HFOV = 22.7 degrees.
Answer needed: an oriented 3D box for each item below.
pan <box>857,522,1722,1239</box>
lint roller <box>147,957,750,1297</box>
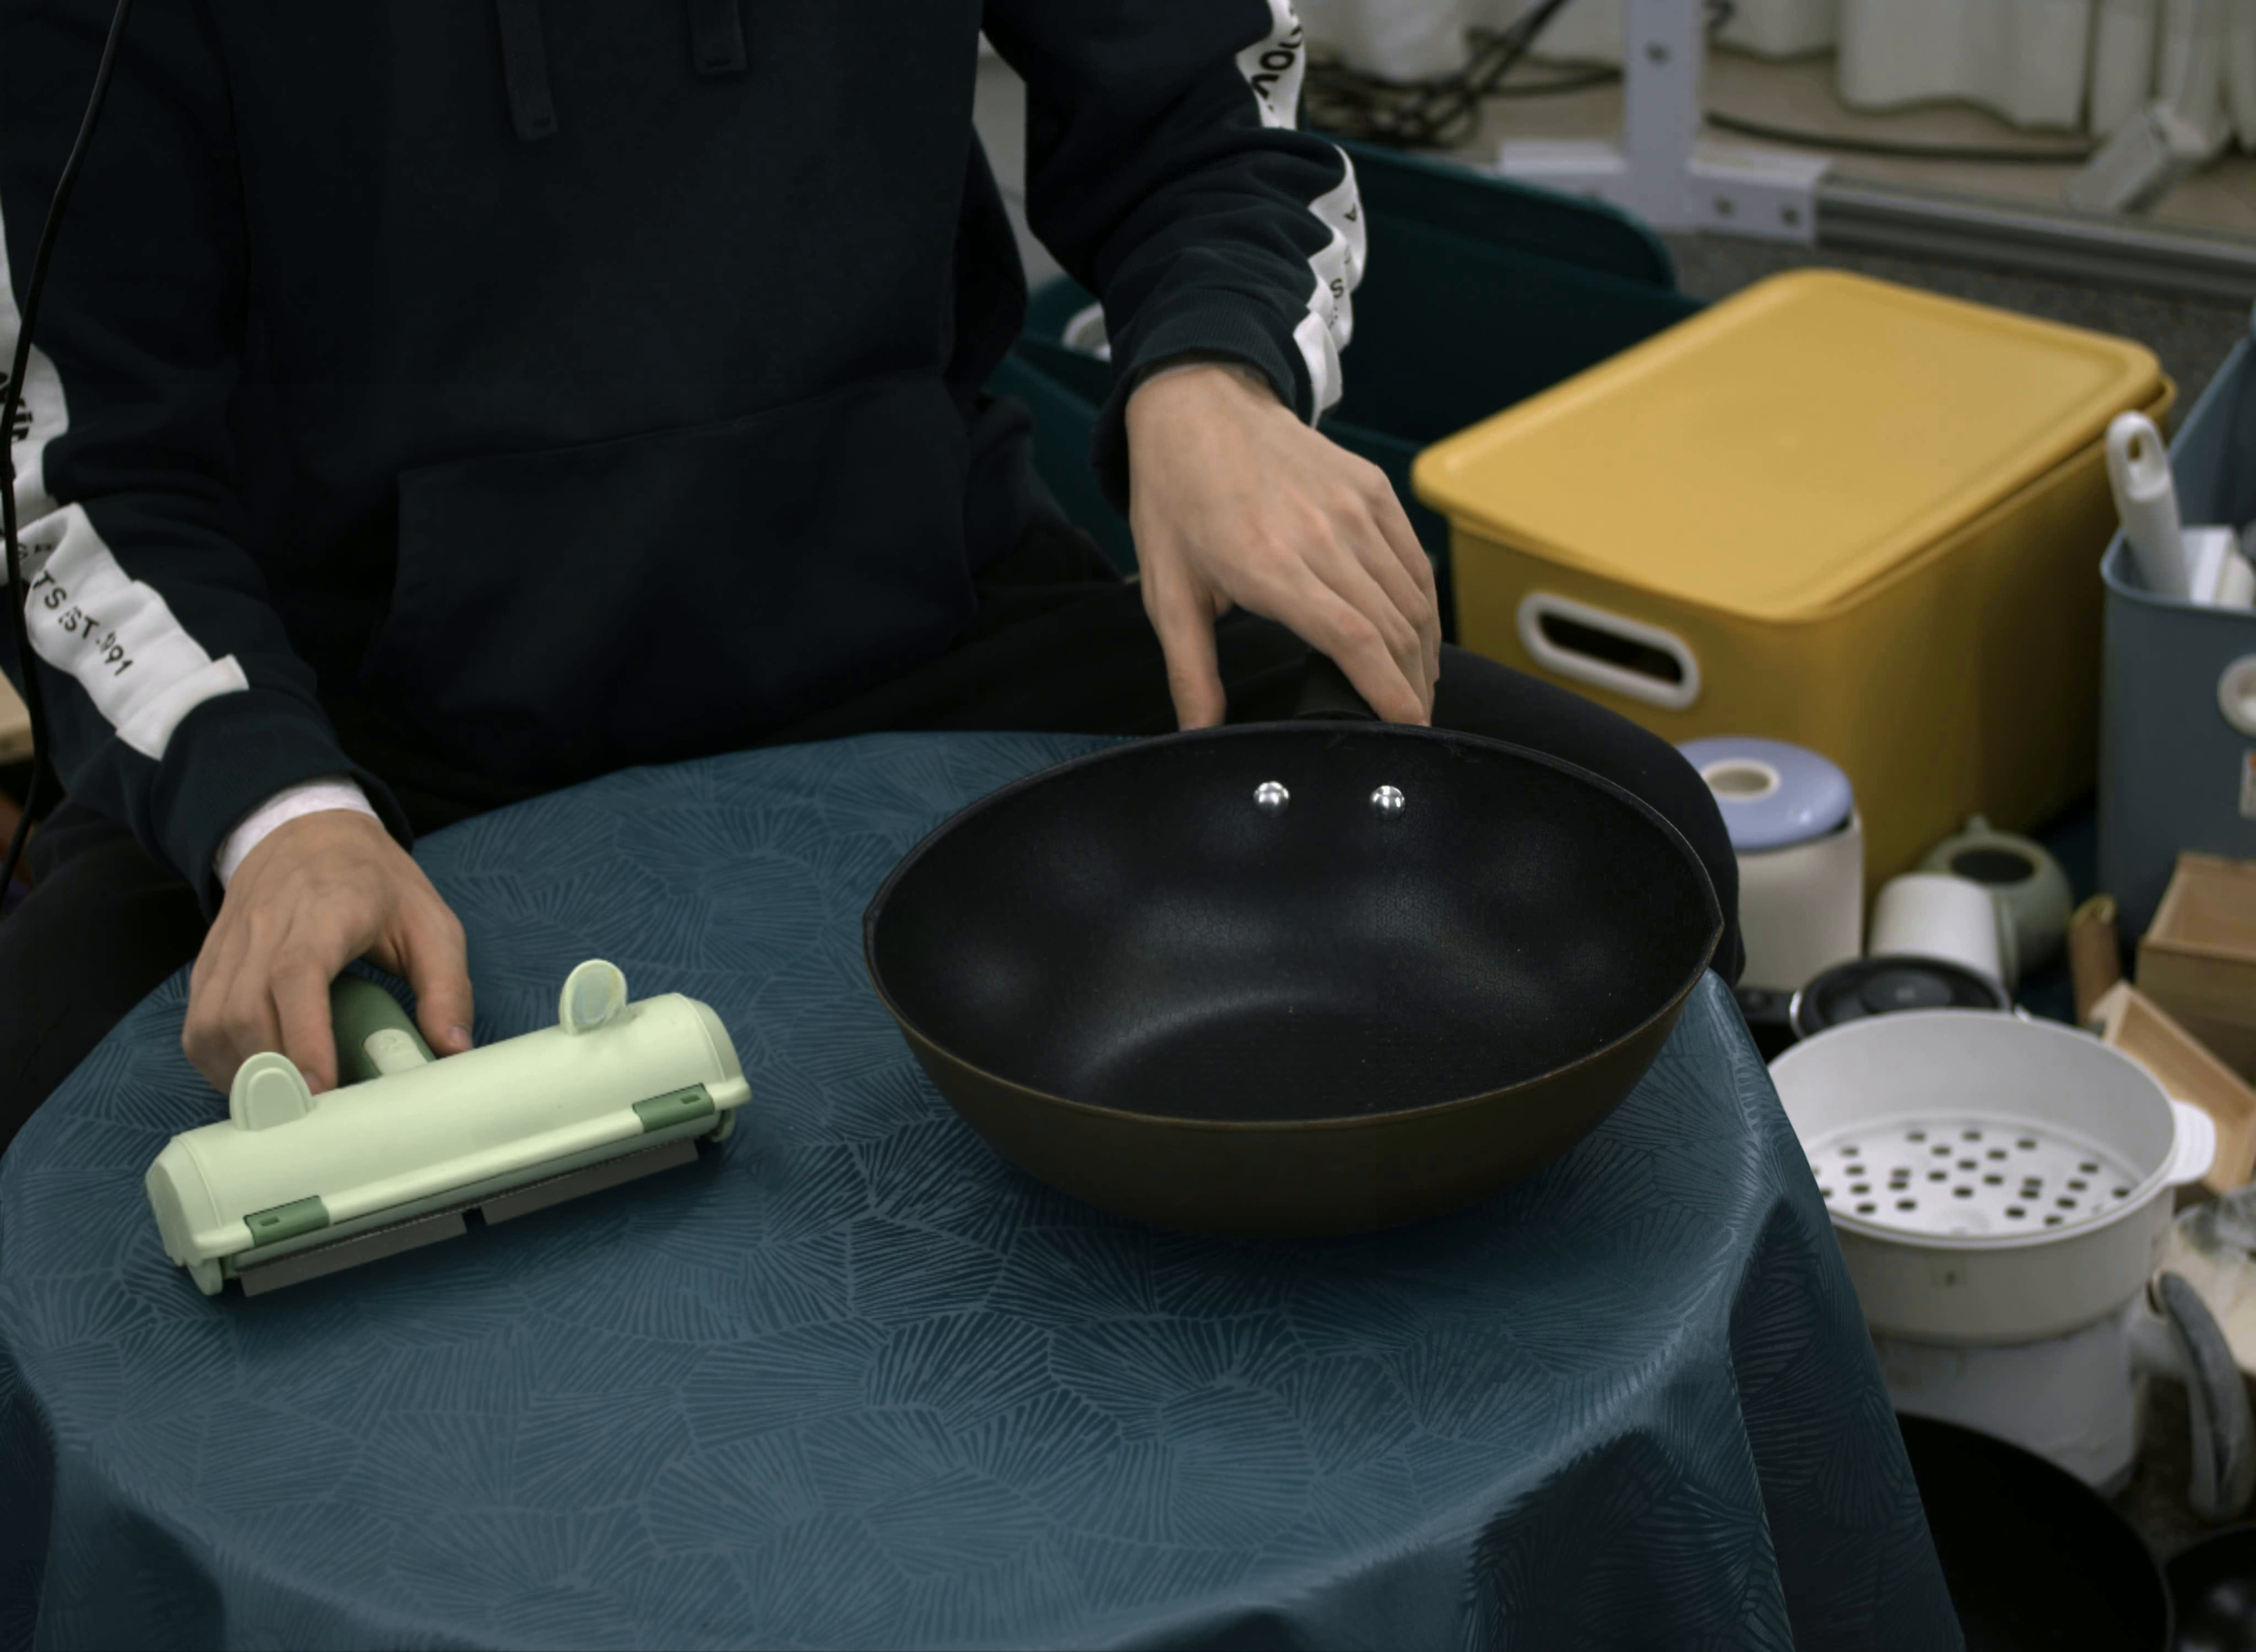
[{"bbox_3d":[0.064,0.021,1.959,0.286,0.086,0.471,1,27,7],"label":"pan"},{"bbox_3d":[-0.249,0.073,1.897,0.199,0.081,0.185,-16,35,-22],"label":"lint roller"}]
